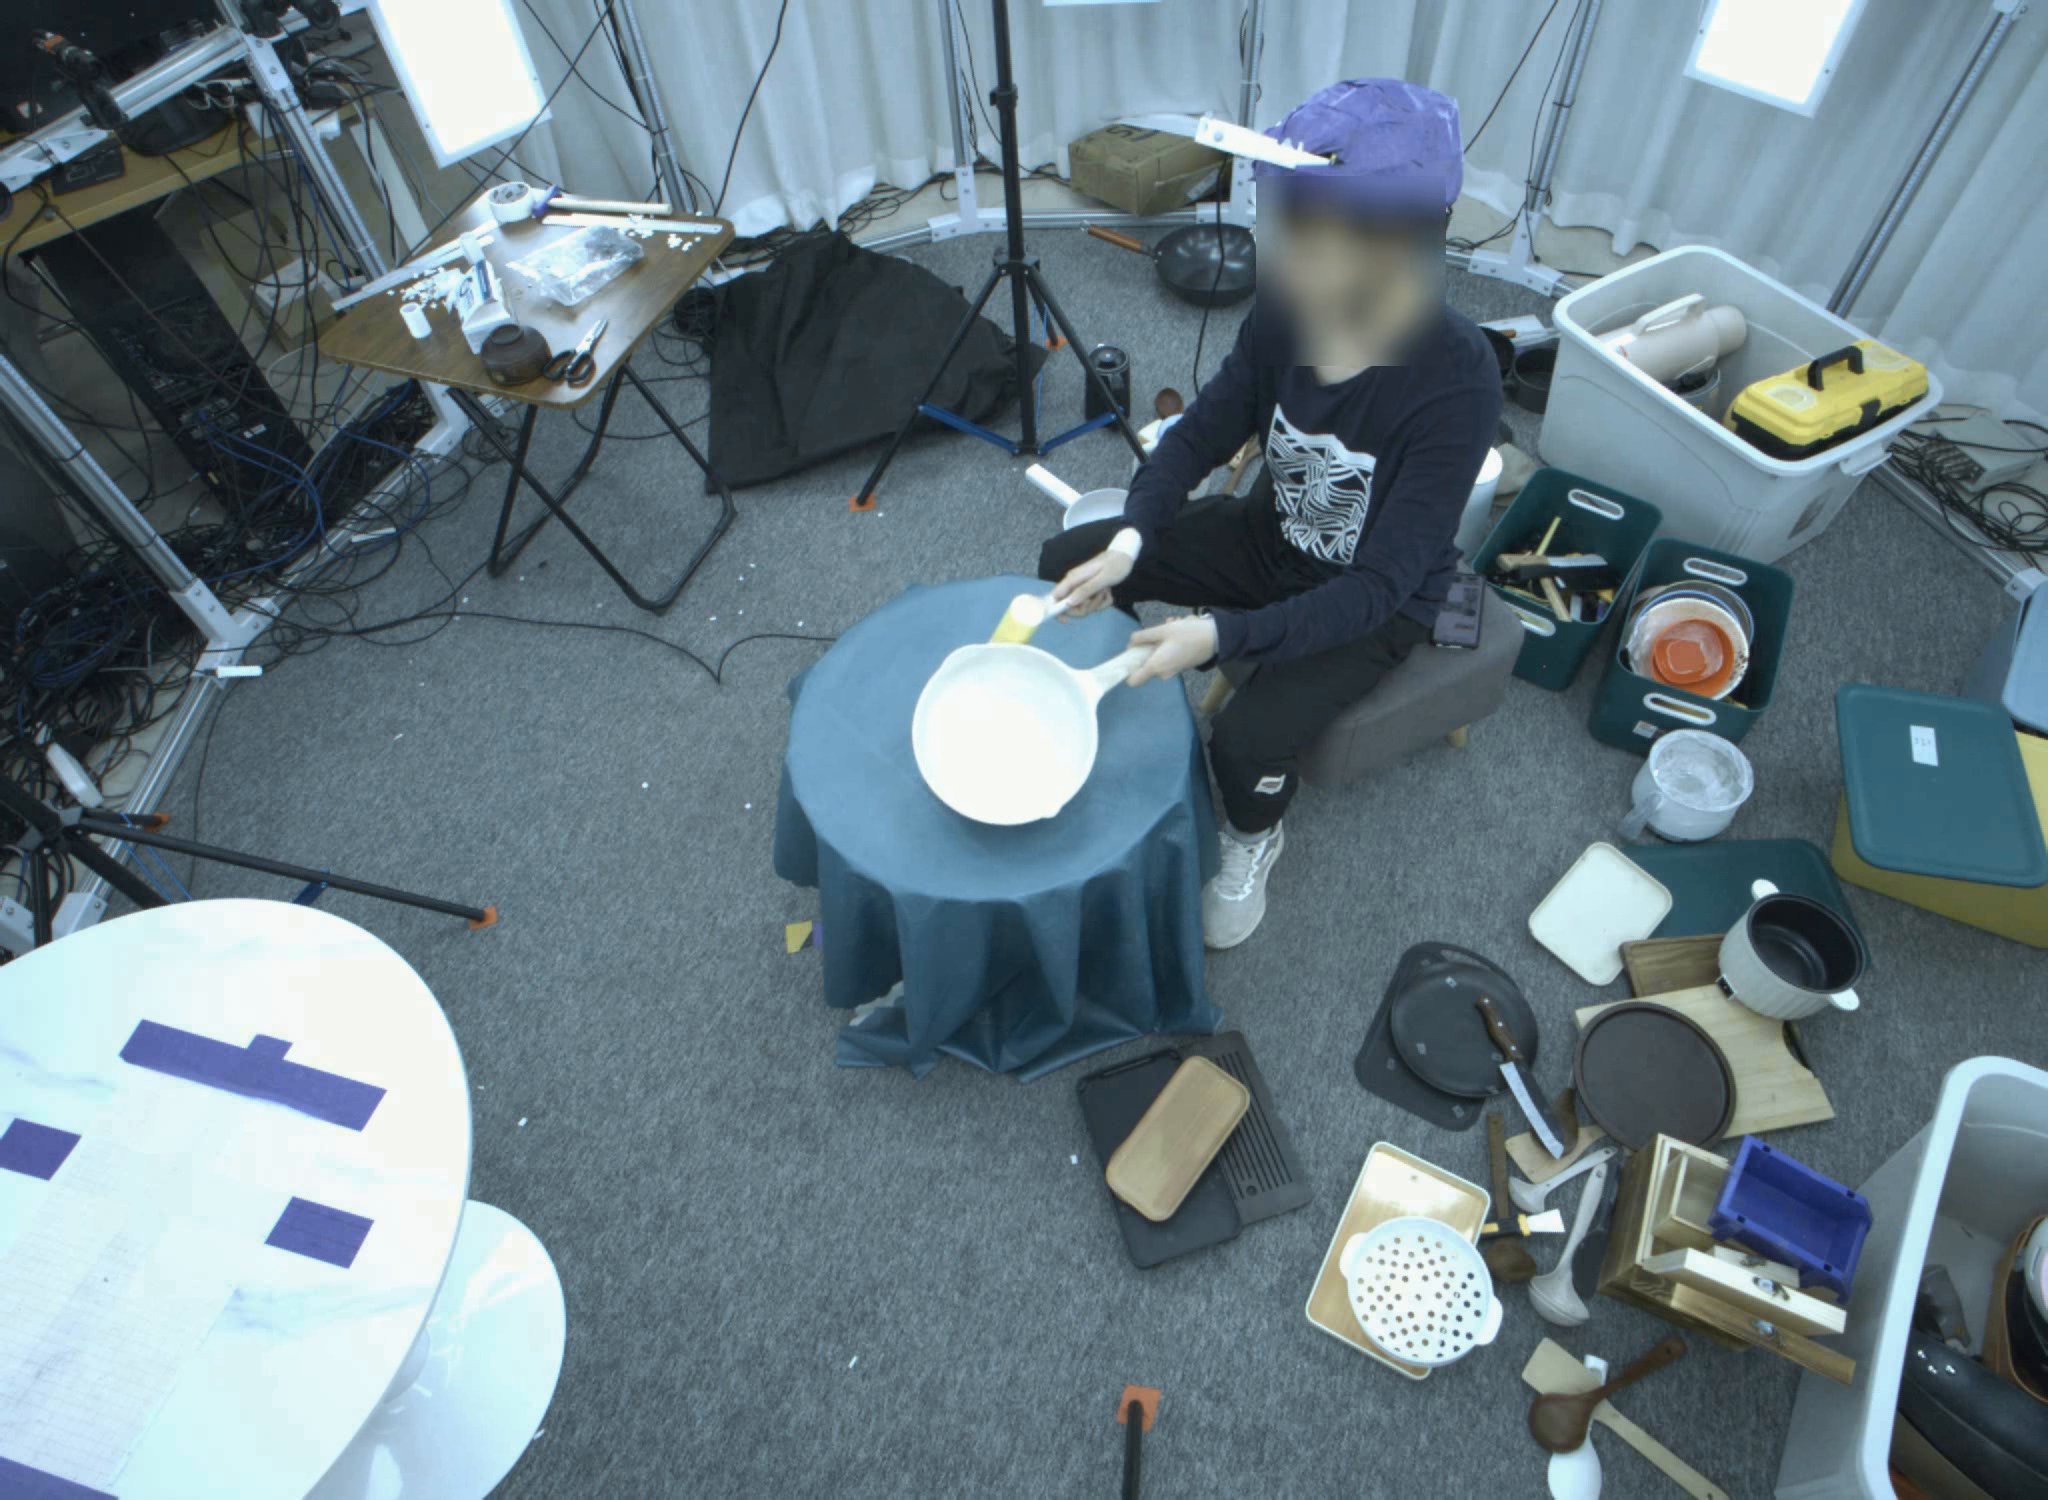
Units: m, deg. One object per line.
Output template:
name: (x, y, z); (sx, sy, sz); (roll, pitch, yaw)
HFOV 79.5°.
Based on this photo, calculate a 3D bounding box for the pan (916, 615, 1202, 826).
pan: (0.057, -0.060, 1.716); (0.437, 0.102, 0.262); (-30, 82, -9)

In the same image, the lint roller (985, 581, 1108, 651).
lint roller: (0.039, -0.202, 1.752); (0.193, 0.173, 0.051); (-39, 86, -25)
